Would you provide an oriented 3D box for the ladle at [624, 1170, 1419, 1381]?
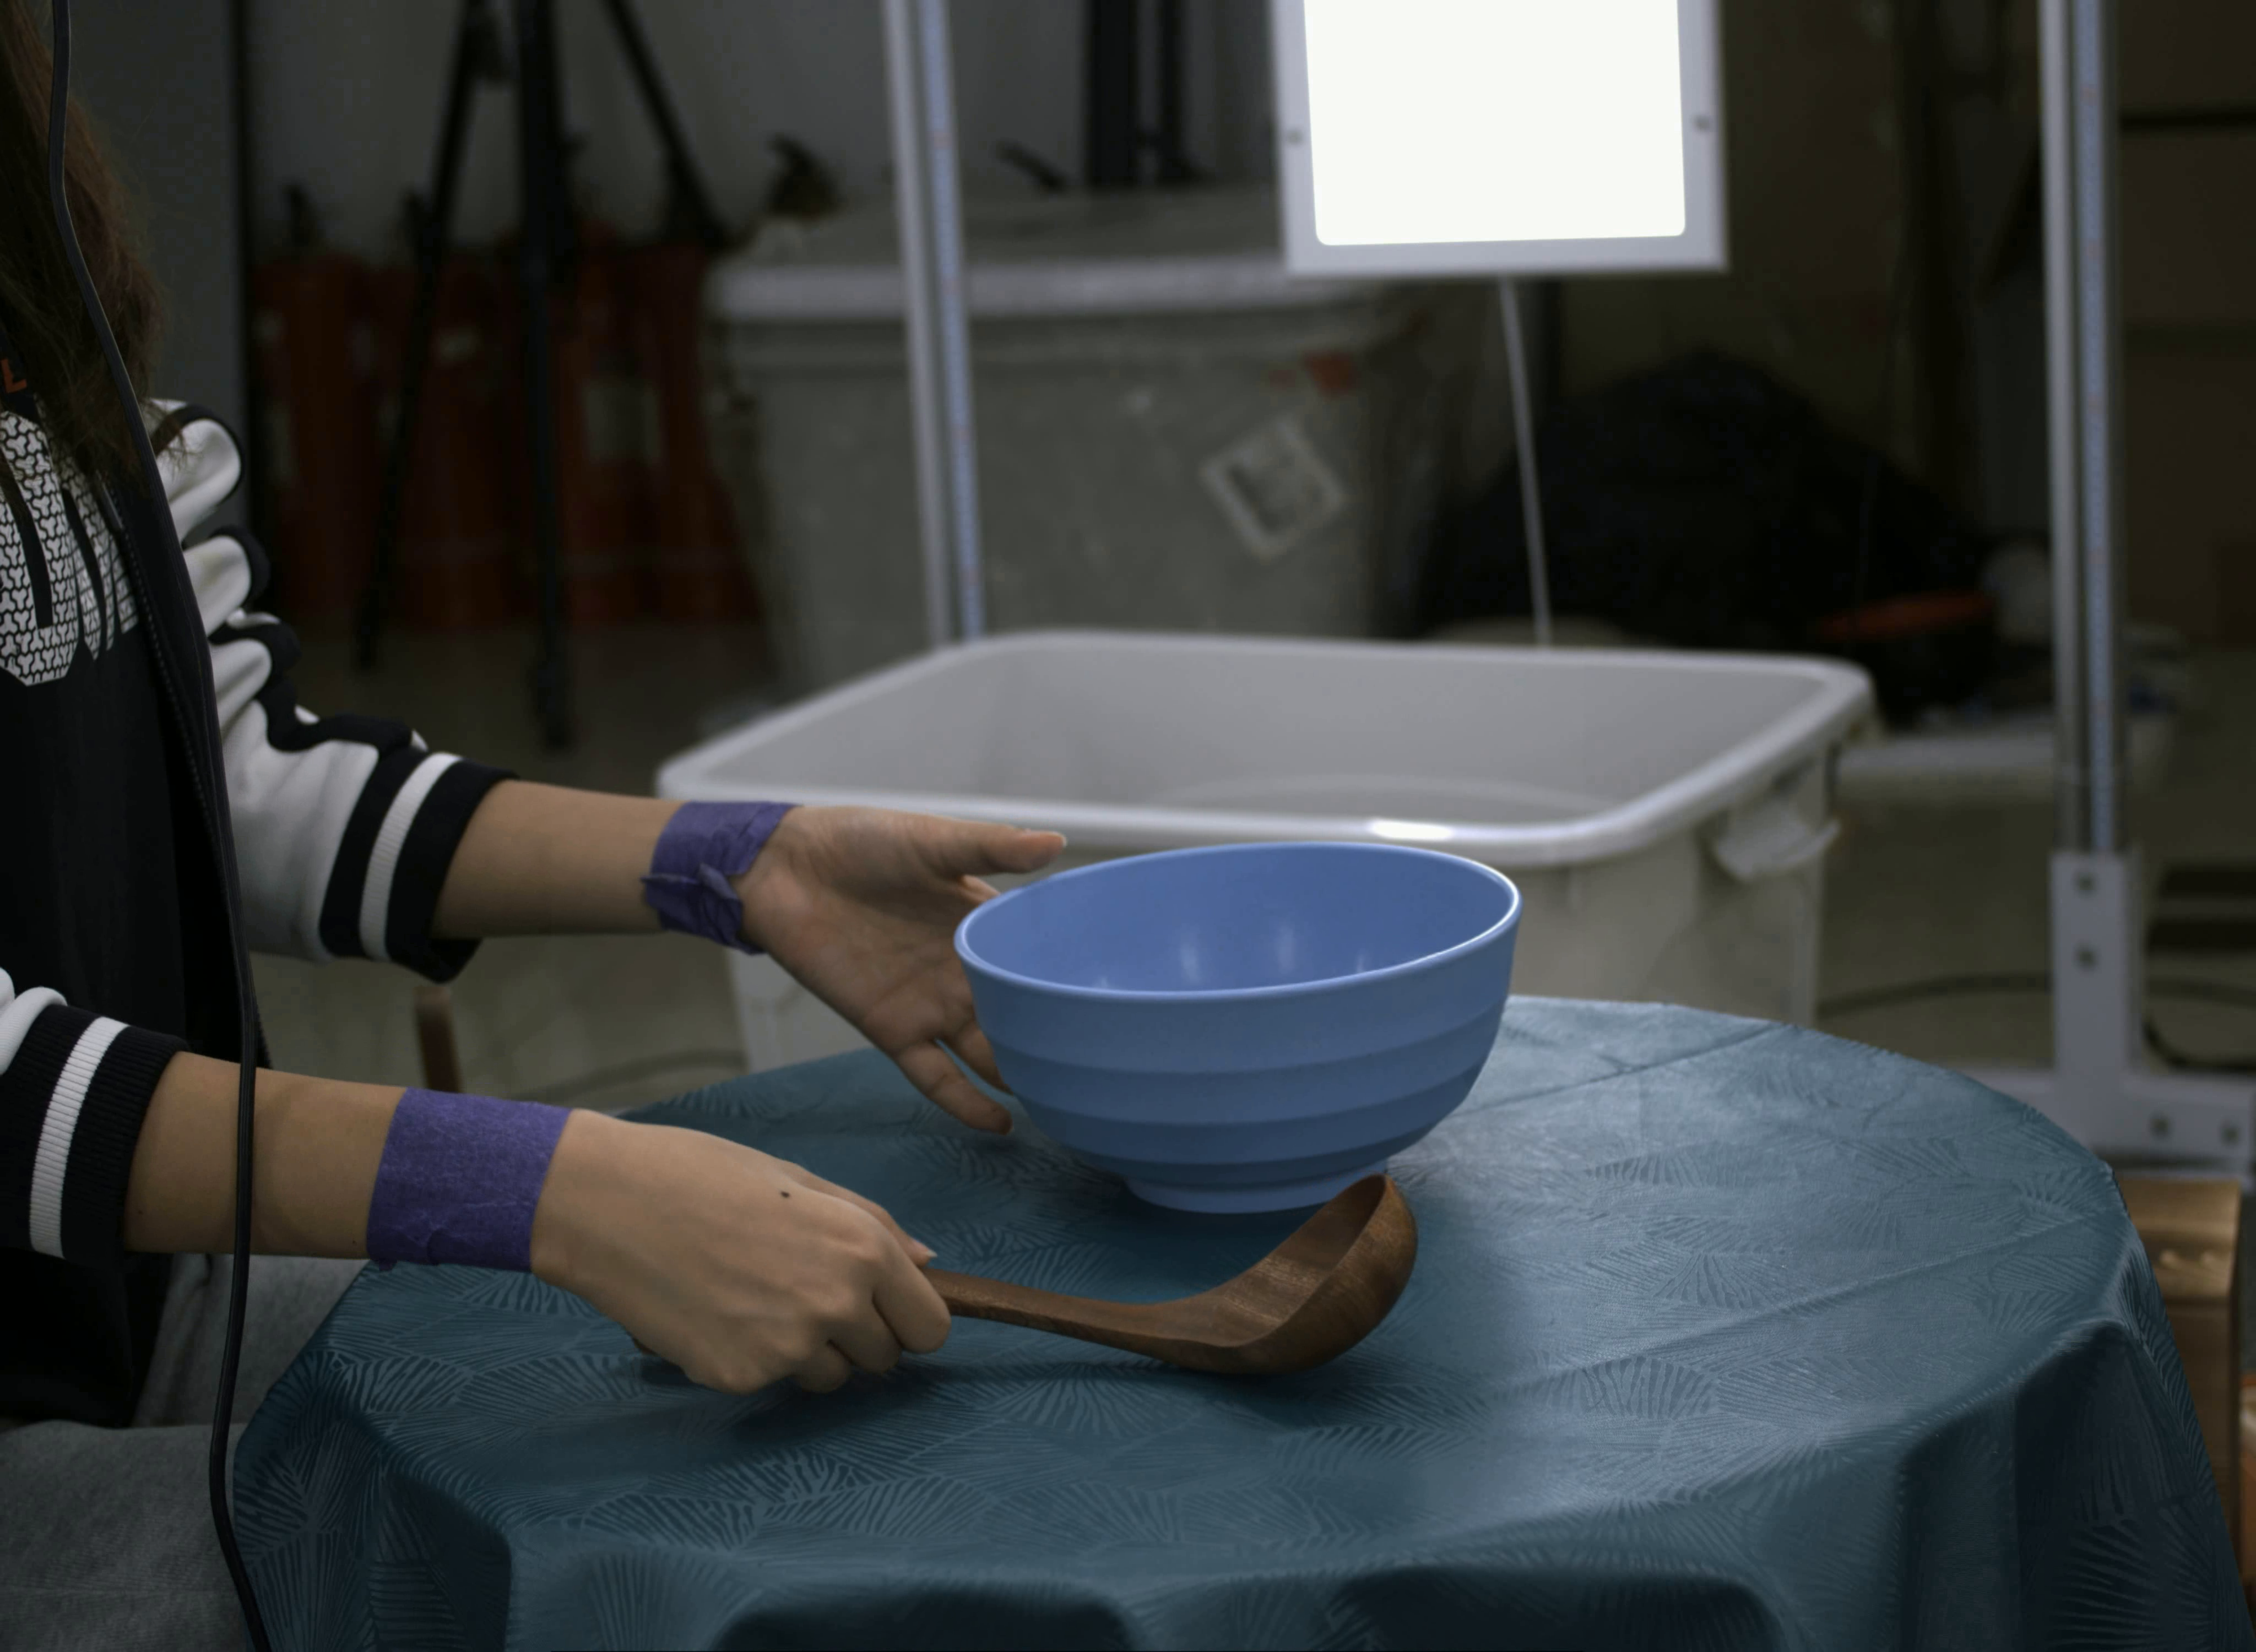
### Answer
[{"bbox_3d":[-0.036,0.140,1.722,0.263,0.065,0.075,0,22,16],"label":"ladle"}]

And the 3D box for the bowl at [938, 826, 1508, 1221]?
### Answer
[{"bbox_3d":[0.034,0.075,1.900,0.196,0.096,0.196,-3,20,0],"label":"bowl"}]
